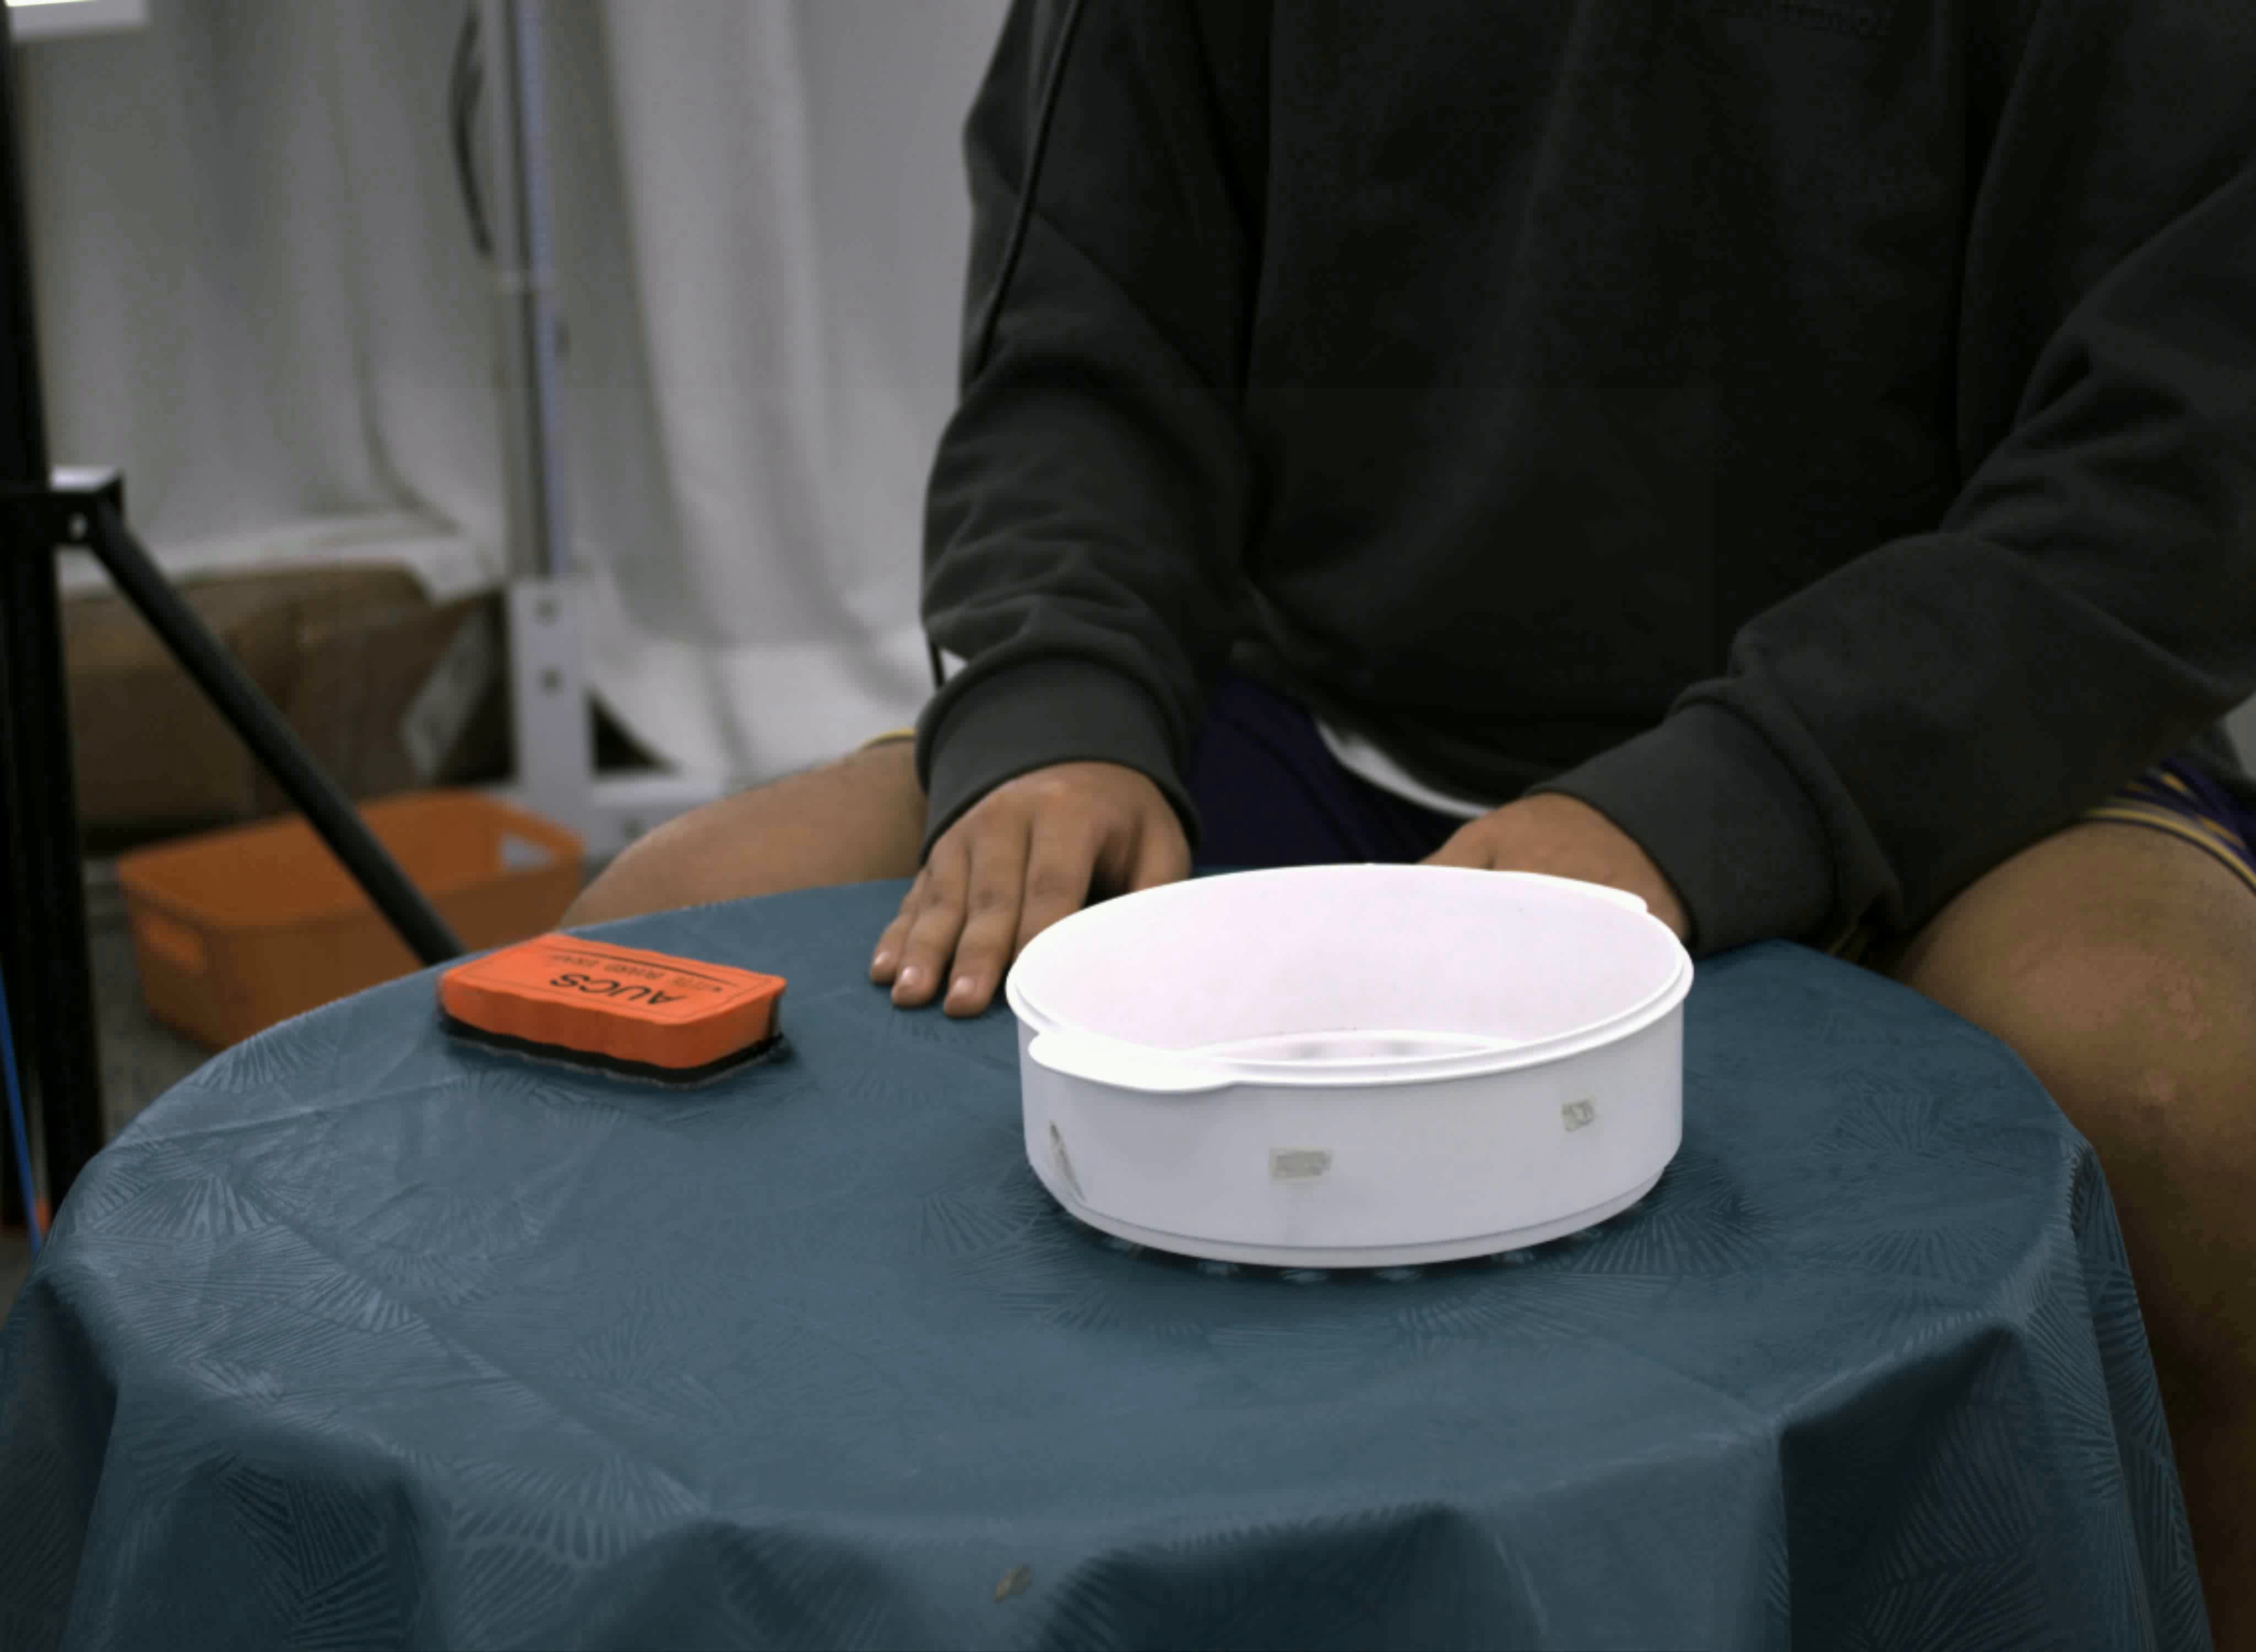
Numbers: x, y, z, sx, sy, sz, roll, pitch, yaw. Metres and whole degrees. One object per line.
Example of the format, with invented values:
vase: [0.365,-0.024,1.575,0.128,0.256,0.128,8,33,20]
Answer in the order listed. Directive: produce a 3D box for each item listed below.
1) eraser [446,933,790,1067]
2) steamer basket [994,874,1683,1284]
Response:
eraser: [-0.164,0.056,1.717,0.110,0.023,0.057,8,13,36]
steamer basket: [0.062,0.074,1.554,0.206,0.069,0.225,11,21,41]
